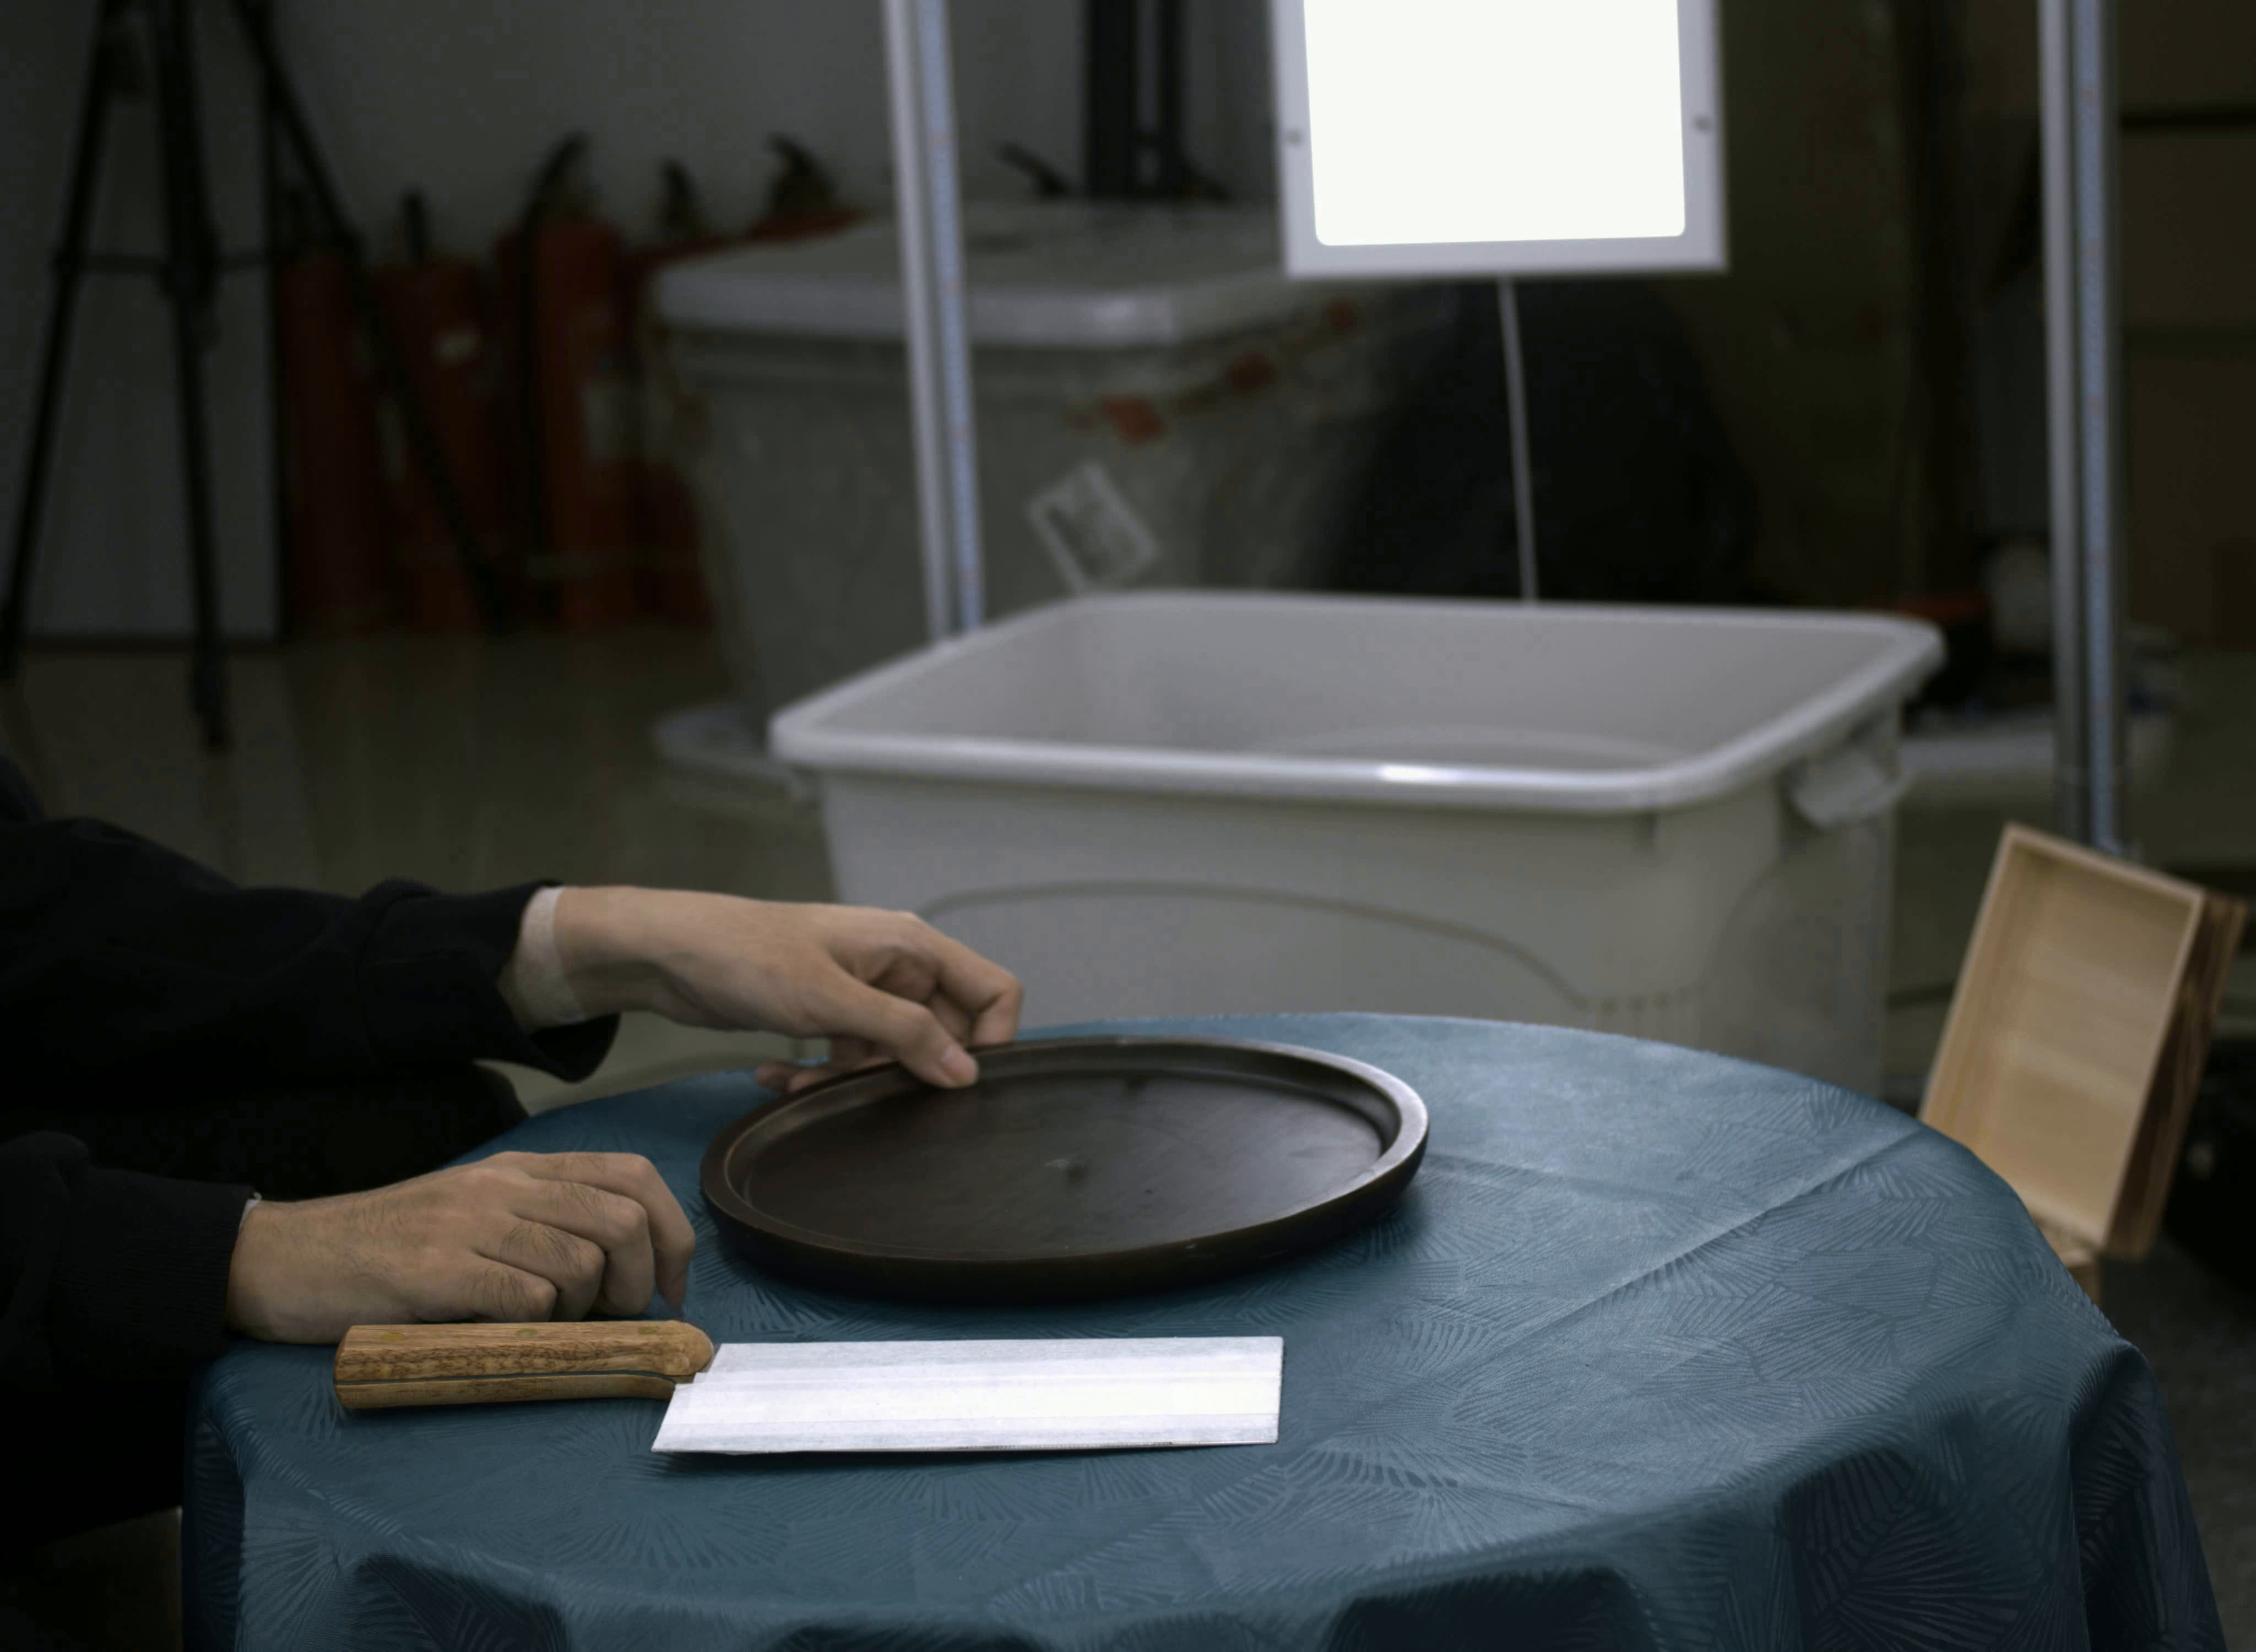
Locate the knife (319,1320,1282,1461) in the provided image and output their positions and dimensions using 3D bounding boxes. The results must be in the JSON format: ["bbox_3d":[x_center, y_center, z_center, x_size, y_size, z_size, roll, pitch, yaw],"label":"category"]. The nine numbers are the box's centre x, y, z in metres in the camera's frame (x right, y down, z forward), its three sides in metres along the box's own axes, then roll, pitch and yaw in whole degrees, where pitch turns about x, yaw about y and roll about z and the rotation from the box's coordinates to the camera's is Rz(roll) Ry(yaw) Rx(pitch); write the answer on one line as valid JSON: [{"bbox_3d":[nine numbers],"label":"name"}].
[{"bbox_3d":[-0.104,0.176,1.705,0.306,0.021,0.092,-1,16,6],"label":"knife"}]

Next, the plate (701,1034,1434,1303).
[{"bbox_3d":[-0.020,0.116,1.894,0.254,0.029,0.254,-4,13,0],"label":"plate"}]
